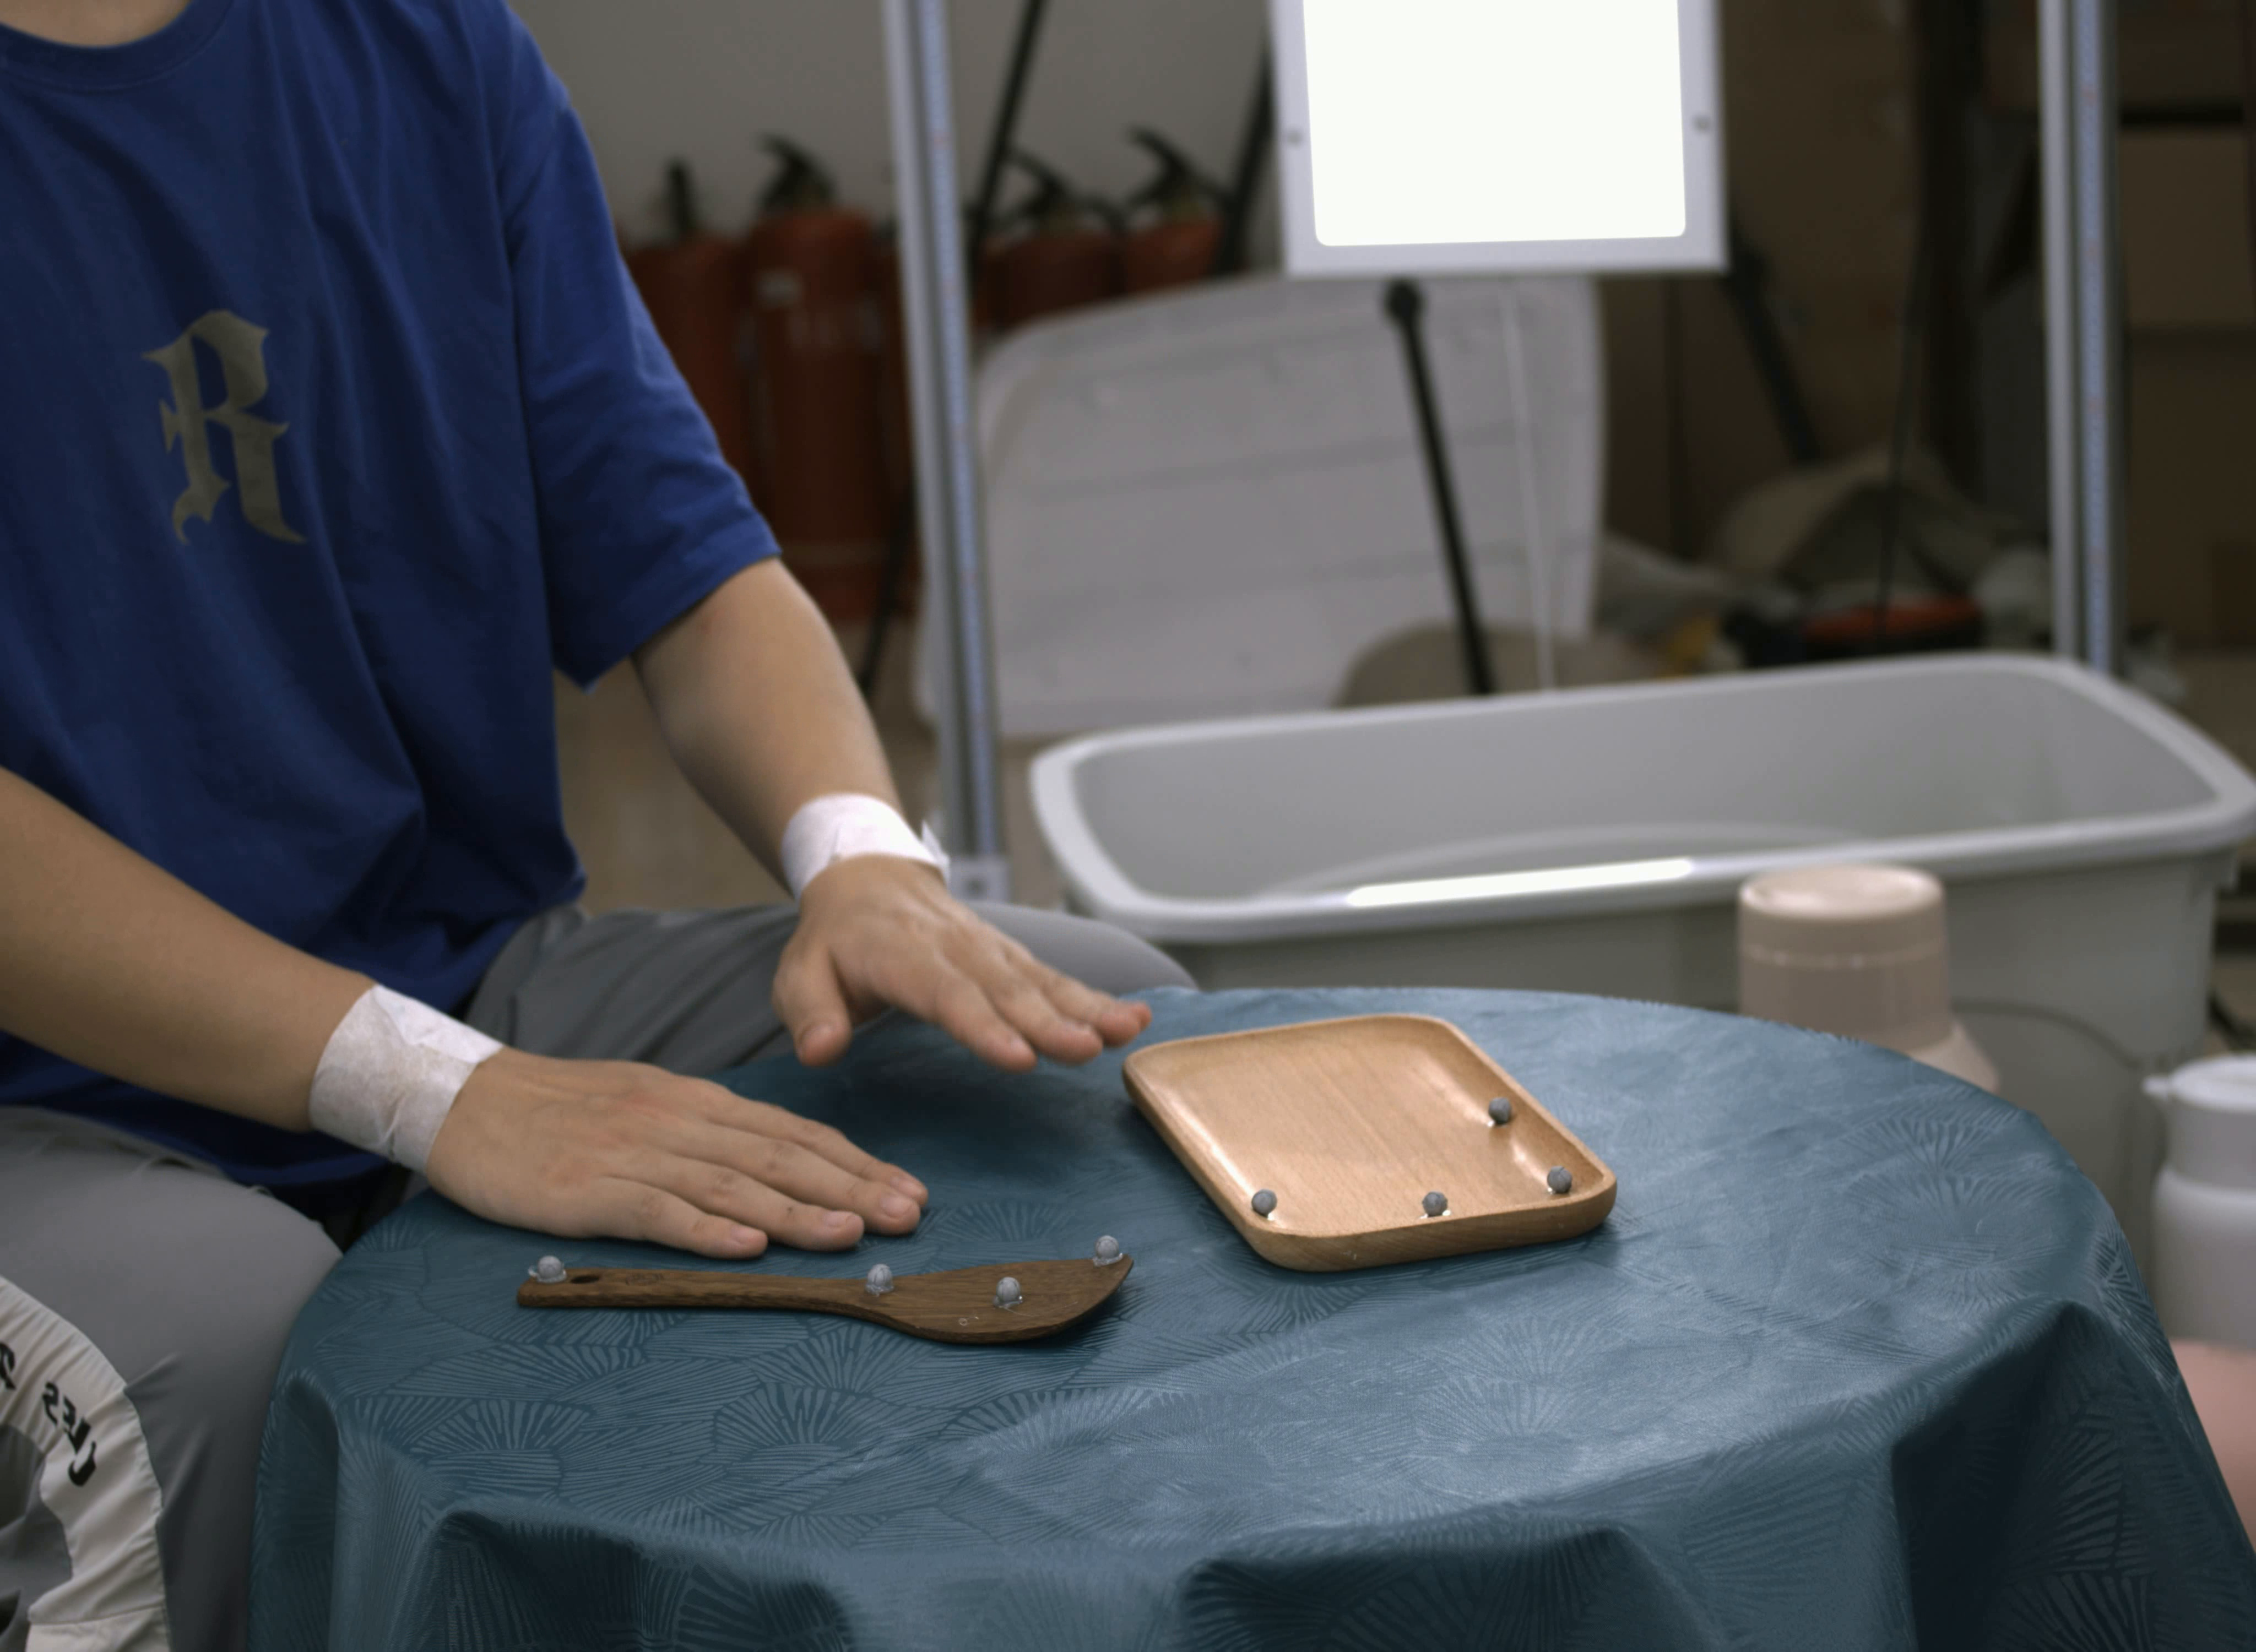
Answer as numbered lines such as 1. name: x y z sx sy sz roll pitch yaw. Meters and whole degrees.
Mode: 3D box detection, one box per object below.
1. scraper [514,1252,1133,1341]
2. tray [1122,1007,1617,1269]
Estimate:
1. scraper: -0.103 0.153 1.809 0.214 0.011 0.074 0 14 22
2. tray: 0.081 0.106 1.913 0.129 0.023 0.252 -5 13 -10
